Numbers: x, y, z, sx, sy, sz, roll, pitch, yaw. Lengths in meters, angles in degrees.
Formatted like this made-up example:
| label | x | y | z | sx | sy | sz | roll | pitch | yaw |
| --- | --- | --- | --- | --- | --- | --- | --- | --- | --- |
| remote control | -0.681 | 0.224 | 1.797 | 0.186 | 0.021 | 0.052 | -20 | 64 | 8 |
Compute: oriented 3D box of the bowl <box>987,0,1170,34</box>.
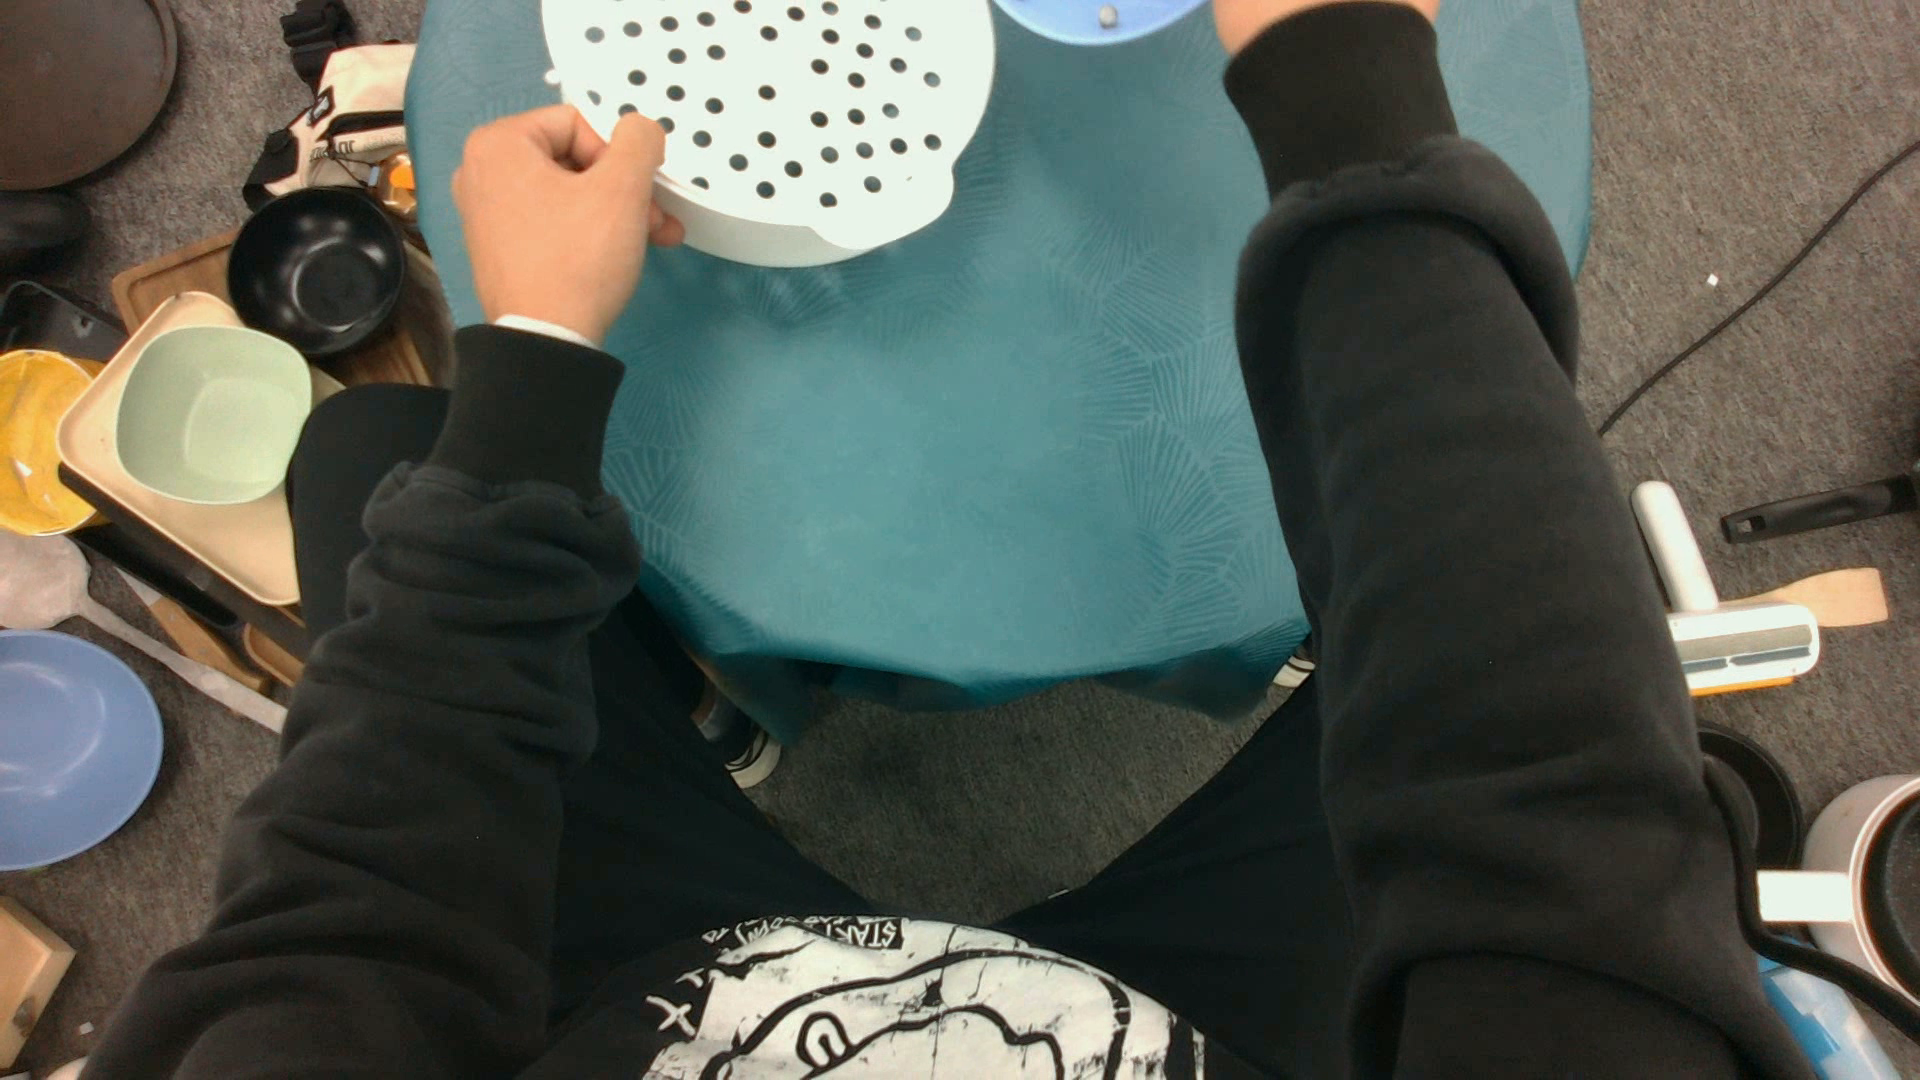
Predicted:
| label | x | y | z | sx | sy | sz | roll | pitch | yaw |
| --- | --- | --- | --- | --- | --- | --- | --- | --- | --- |
| bowl | 0.073 | -0.299 | 0.570 | 0.070 | 0.175 | 0.176 | -14 | 78 | -49 |

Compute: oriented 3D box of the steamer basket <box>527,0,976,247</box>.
| label | x | y | z | sx | sy | sz | roll | pitch | yaw |
| --- | --- | --- | --- | --- | --- | --- | --- | --- | --- |
| steamer basket | -0.097 | -0.235 | 0.648 | 0.202 | 0.069 | 0.231 | -28 | 81 | -19 |
